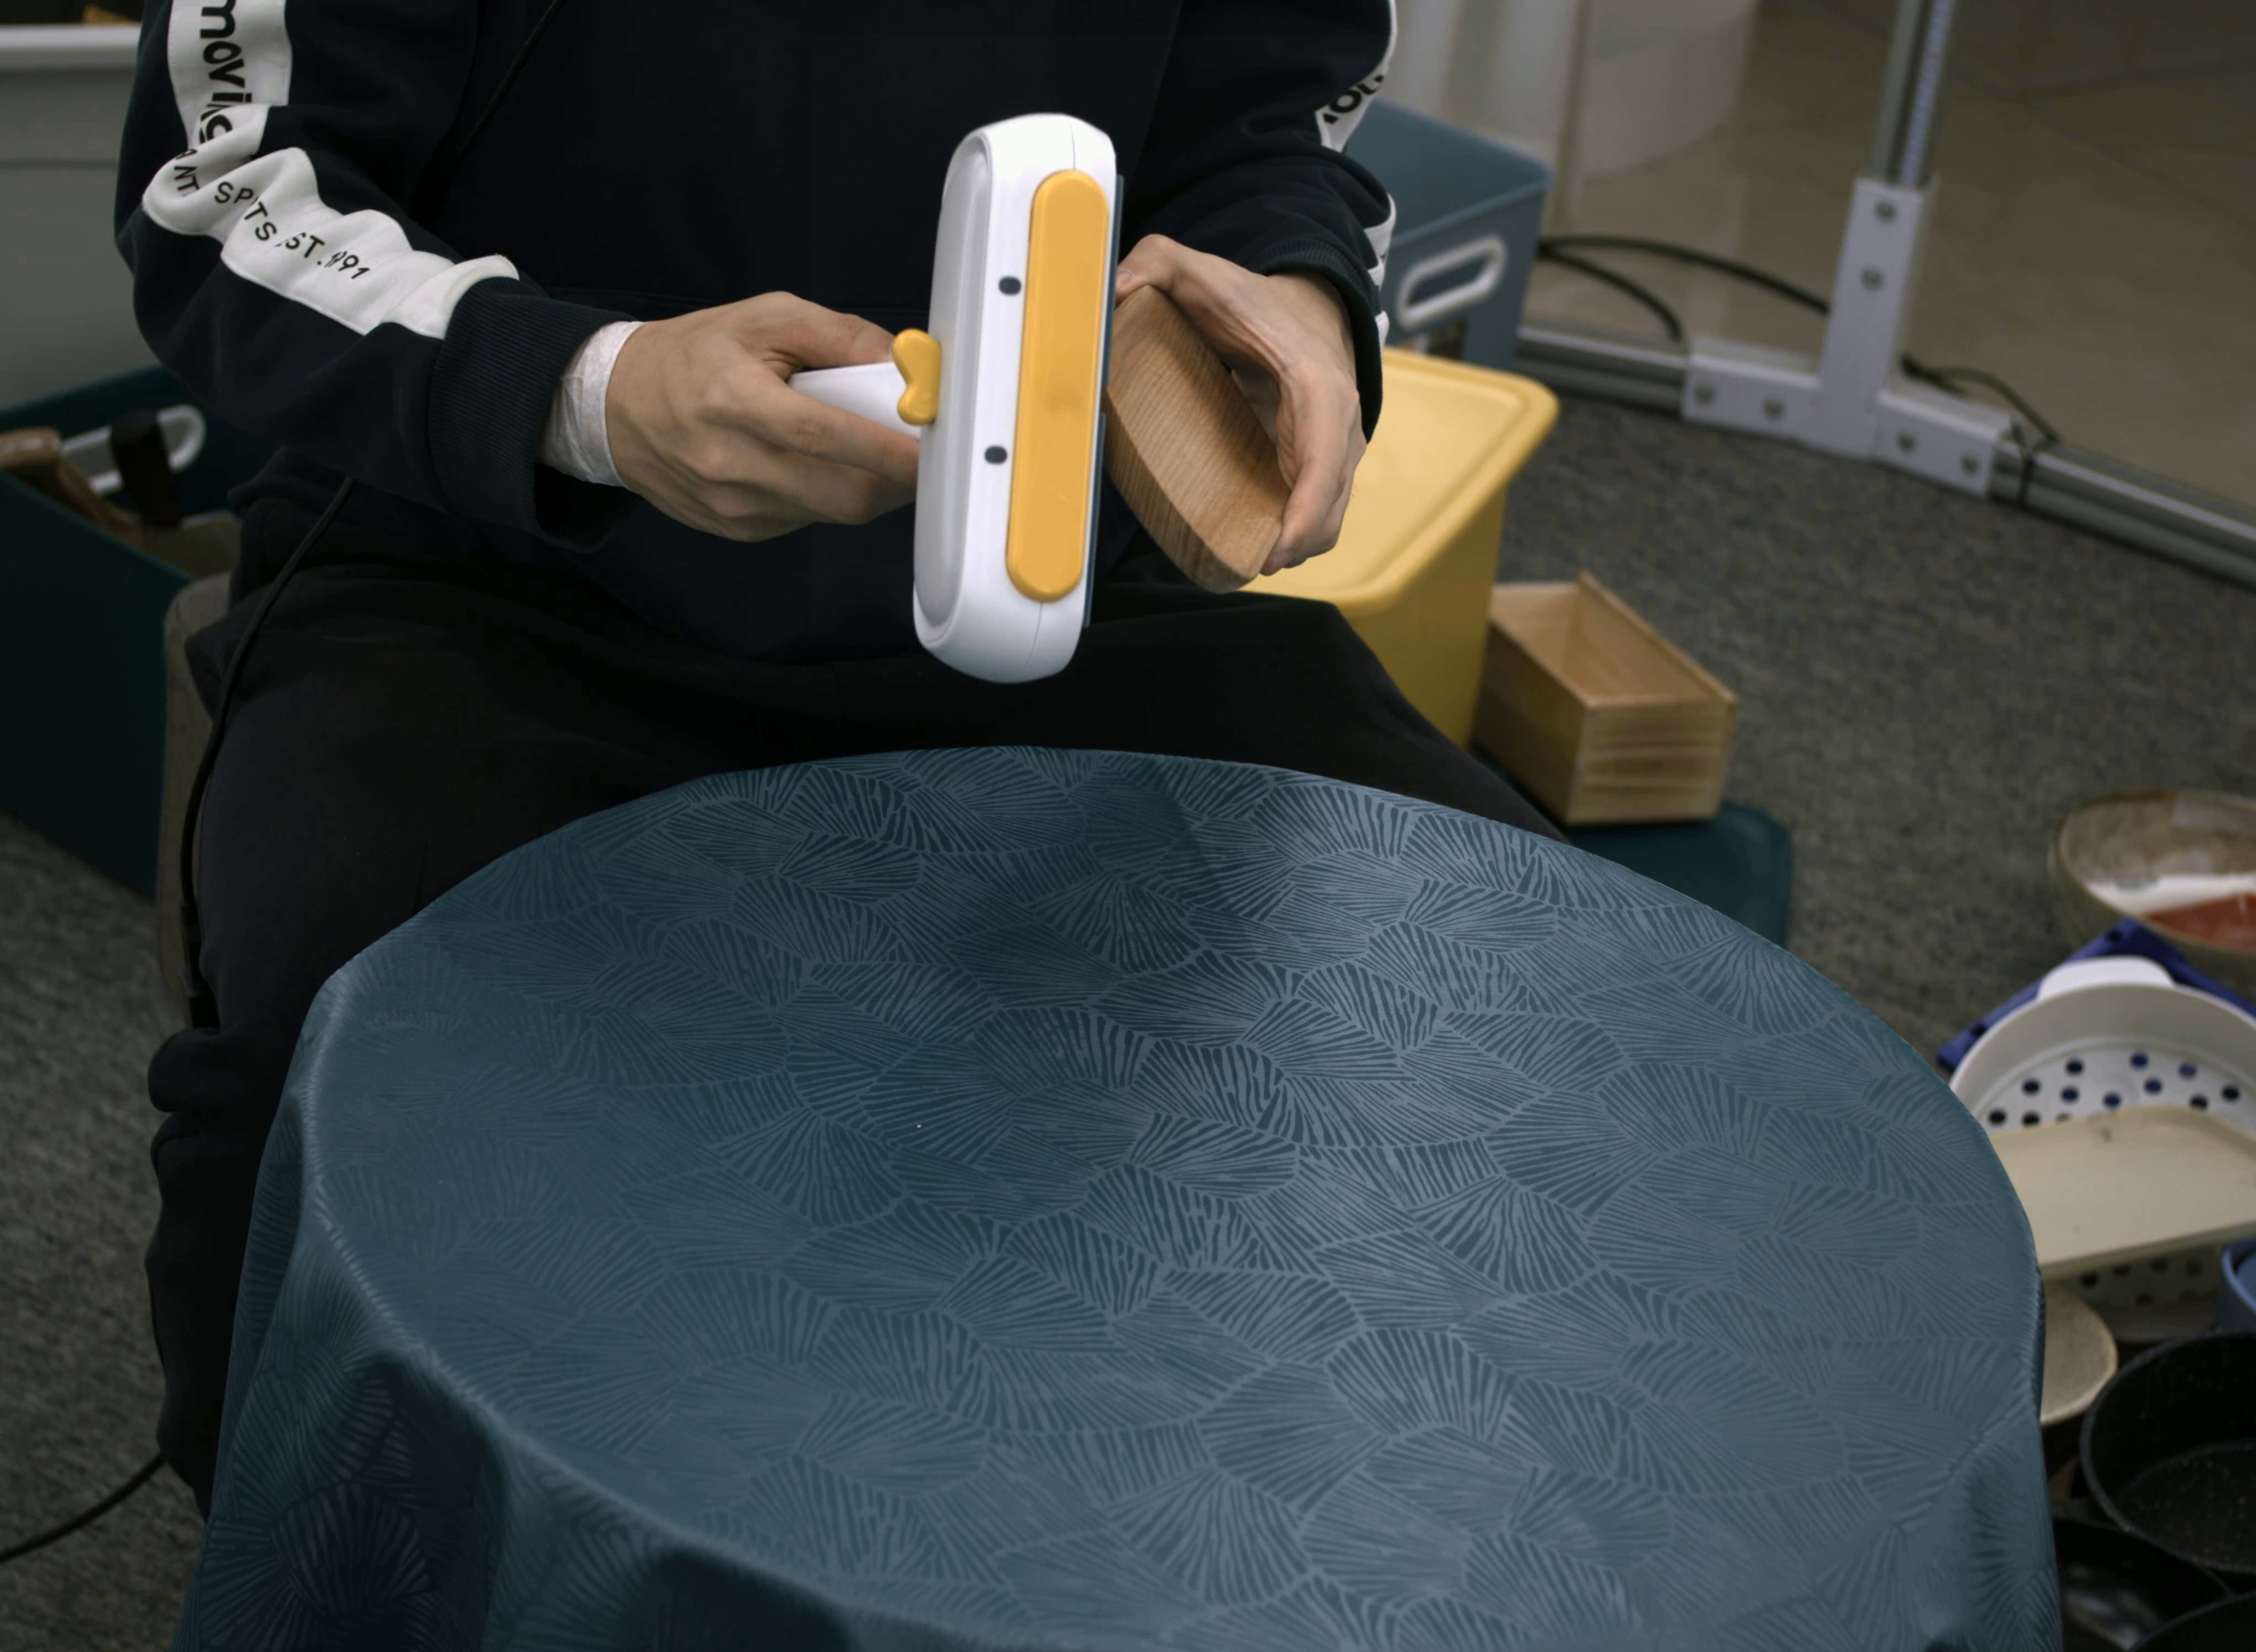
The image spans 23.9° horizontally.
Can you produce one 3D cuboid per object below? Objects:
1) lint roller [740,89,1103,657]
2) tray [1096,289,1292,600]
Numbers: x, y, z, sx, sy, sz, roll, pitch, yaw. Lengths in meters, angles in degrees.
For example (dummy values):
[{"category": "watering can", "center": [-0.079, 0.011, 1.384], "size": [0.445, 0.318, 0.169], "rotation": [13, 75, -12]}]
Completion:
[{"category": "lint roller", "center": [-0.072, -0.146, 1.850], "size": [0.073, 0.194, 0.193], "rotation": [2, -8, -27]}, {"category": "tray", "center": [0.020, -0.137, 1.906], "size": [0.020, 0.101, 0.231], "rotation": [-34, 7, 14]}]
